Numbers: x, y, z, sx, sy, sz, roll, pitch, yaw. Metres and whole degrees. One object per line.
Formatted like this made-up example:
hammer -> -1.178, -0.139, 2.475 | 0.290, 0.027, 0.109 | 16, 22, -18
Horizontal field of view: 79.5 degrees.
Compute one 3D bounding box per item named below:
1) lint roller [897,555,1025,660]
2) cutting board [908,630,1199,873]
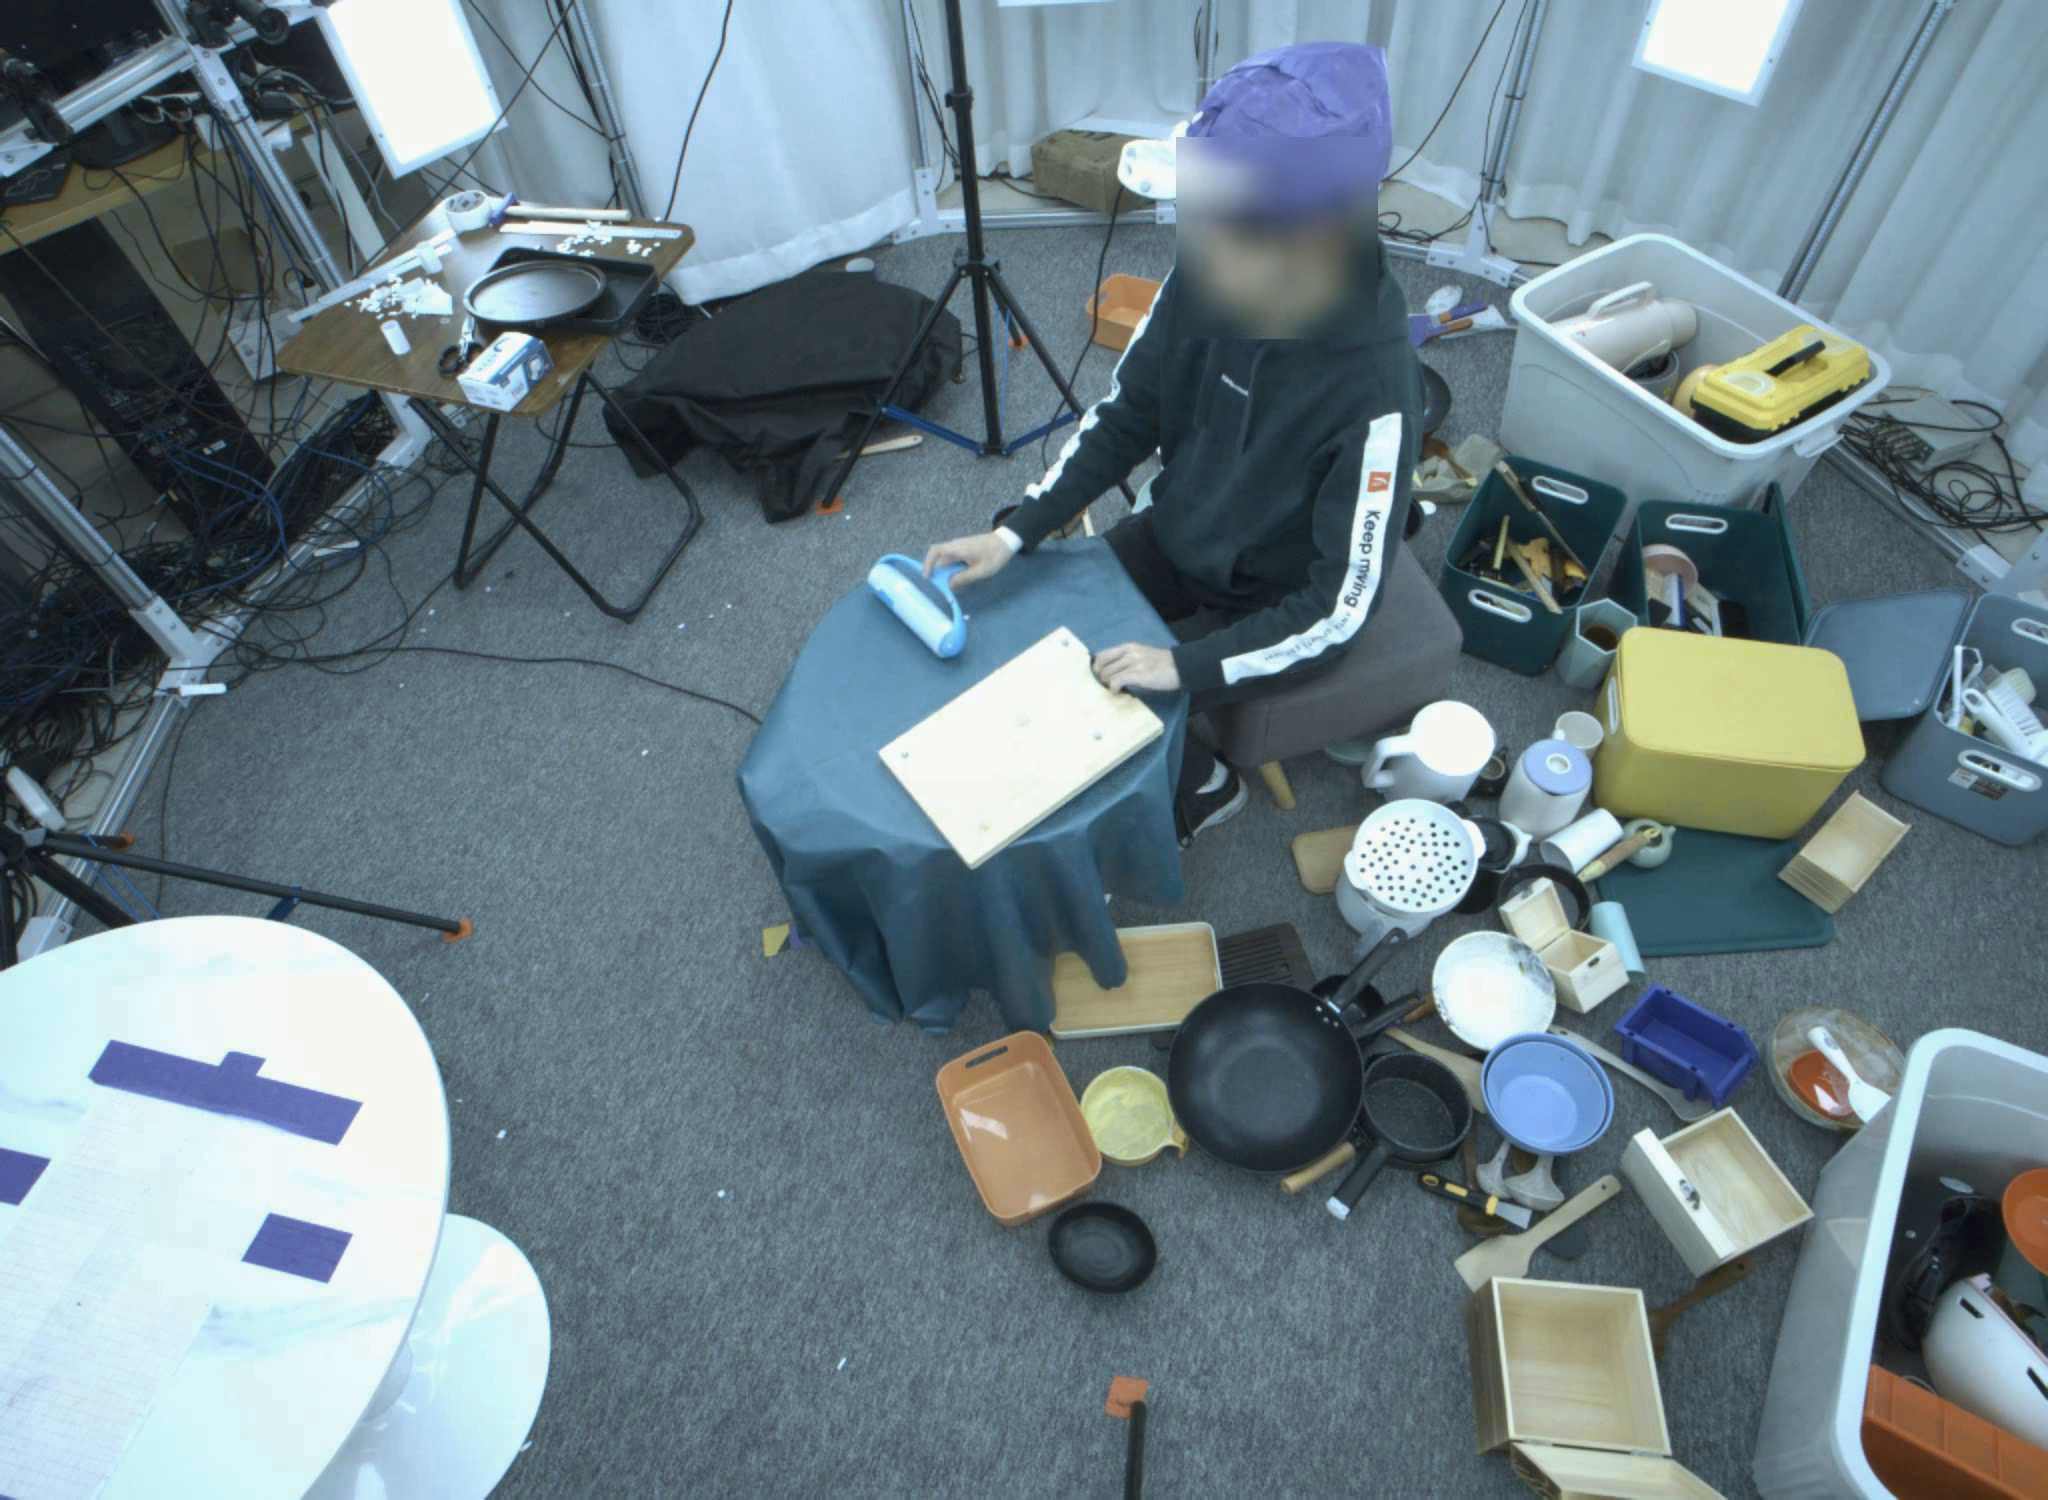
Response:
lint roller -> -0.080, -0.254, 1.920 | 0.181, 0.069, 0.224 | -39, 59, -12
cutting board -> 0.037, -0.006, 1.754 | 0.350, 0.024, 0.246 | -34, 60, -13
